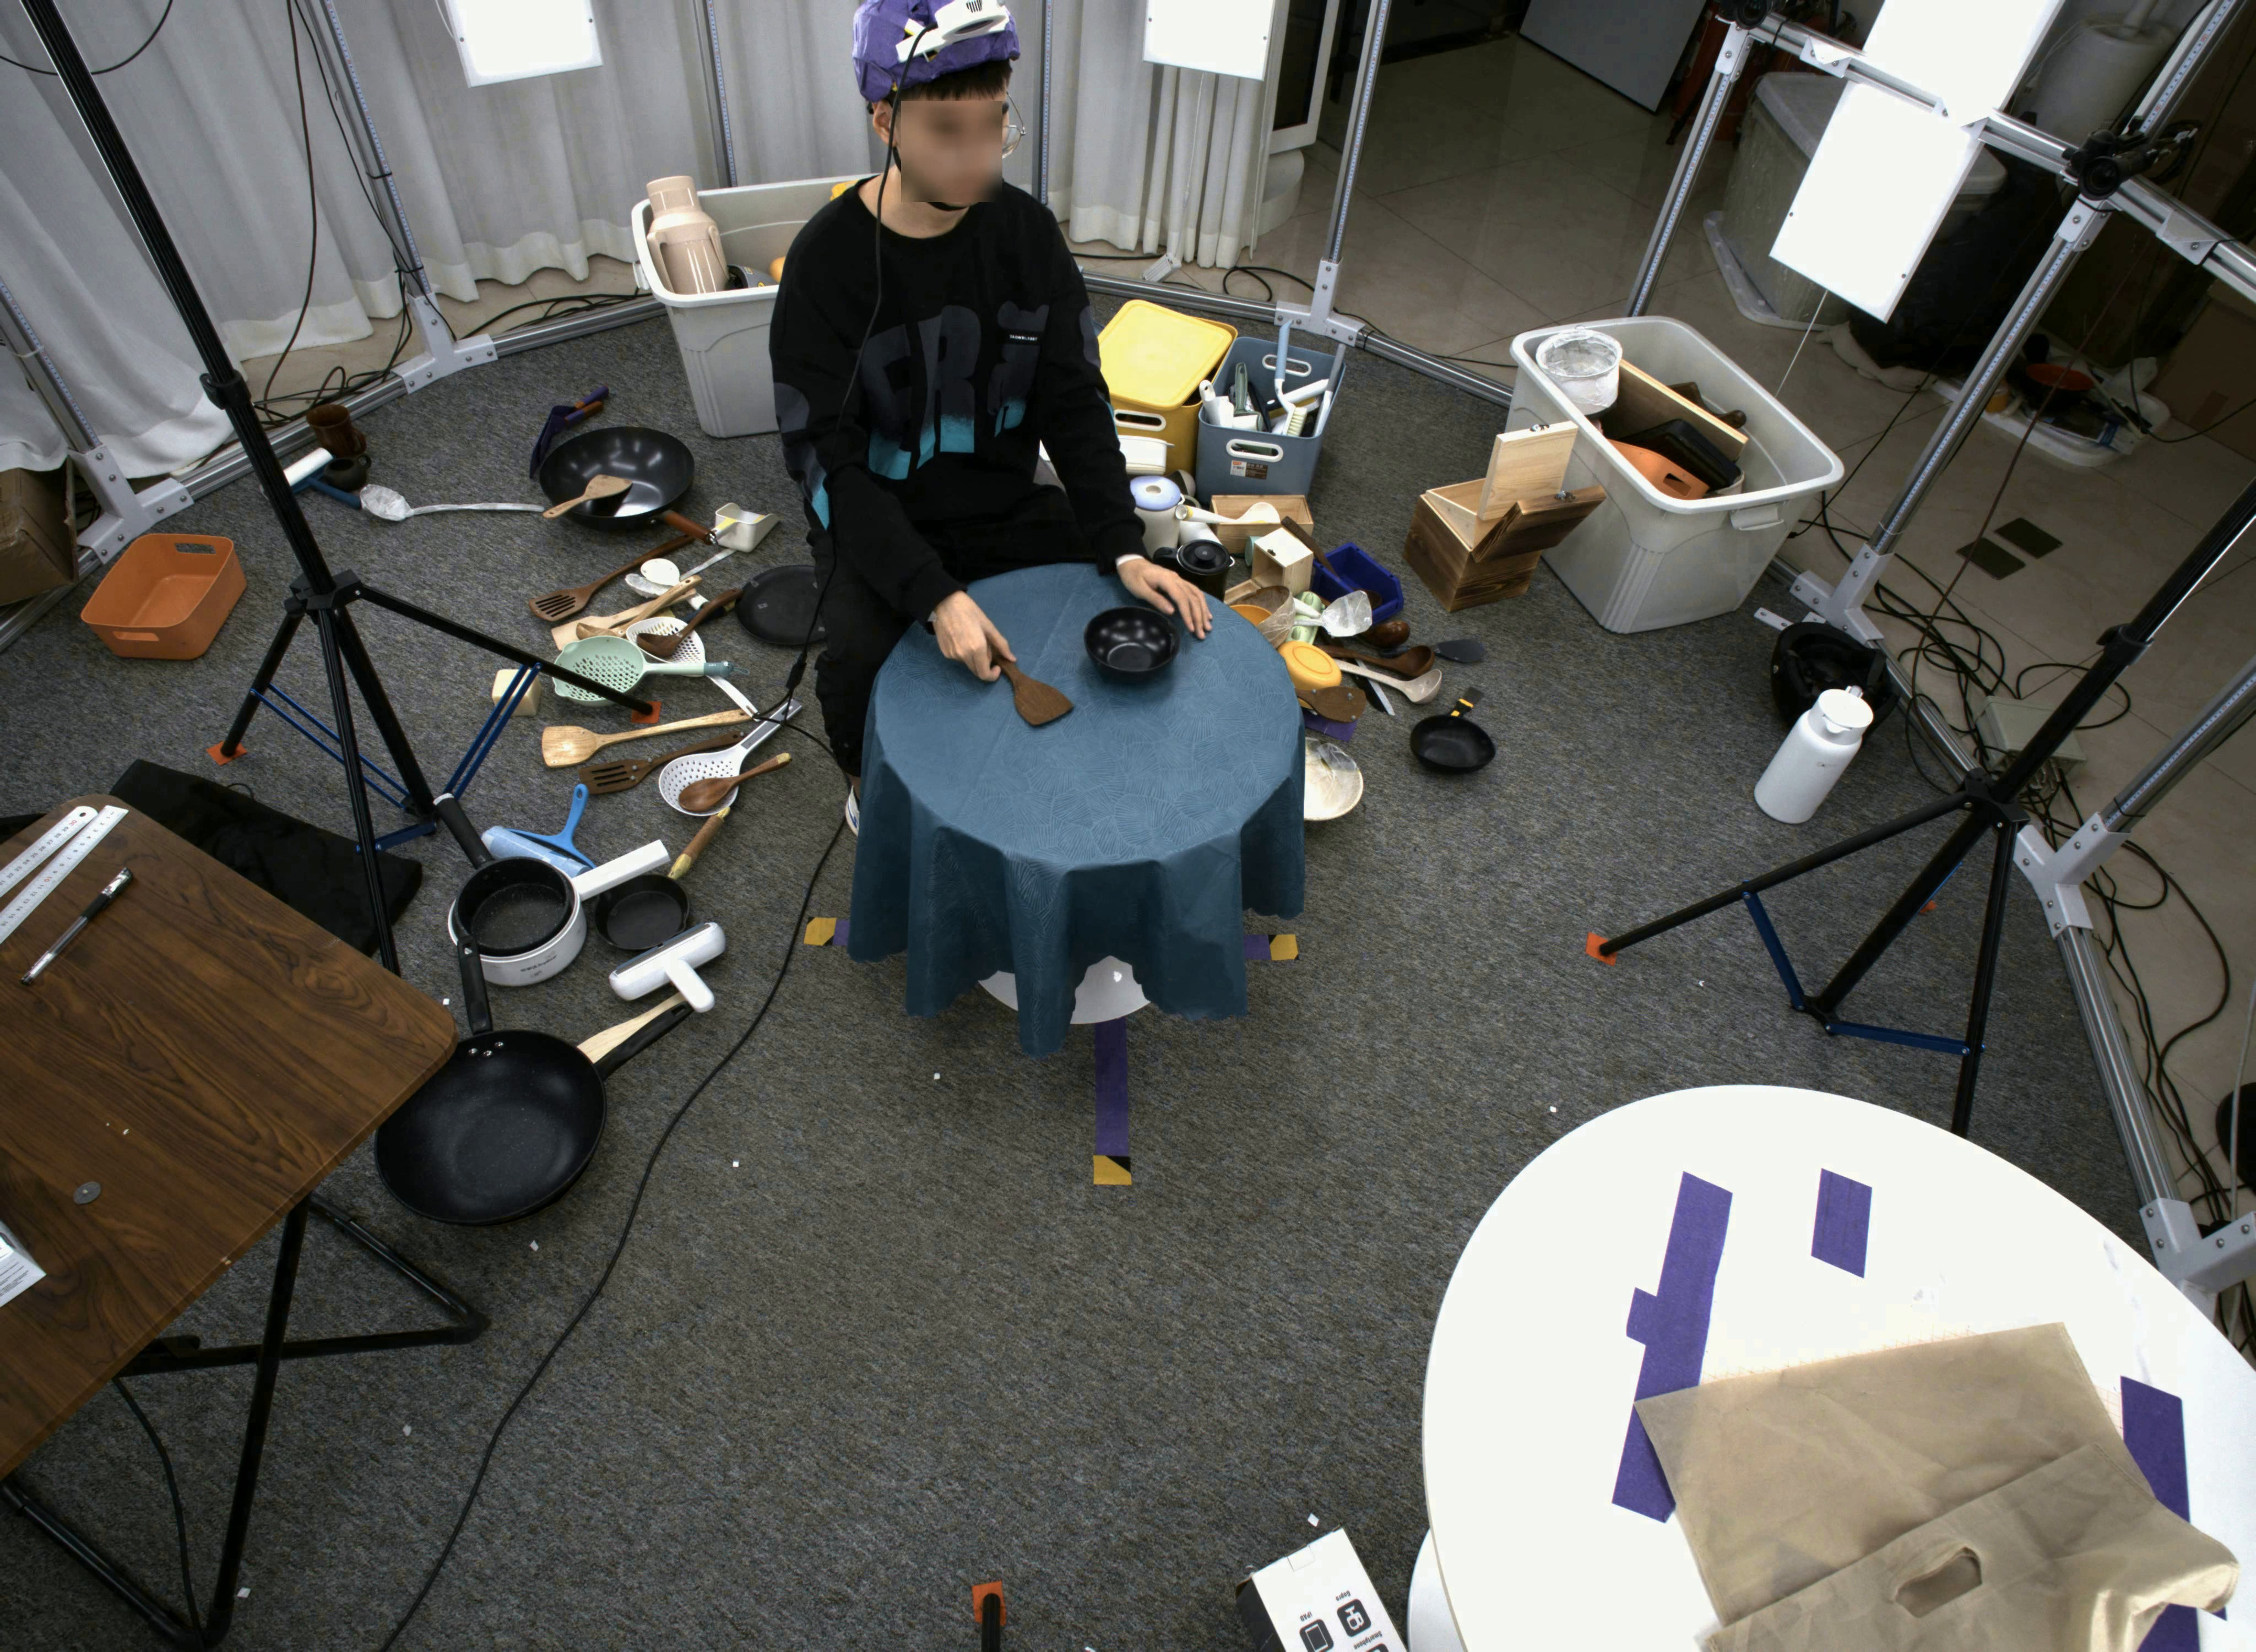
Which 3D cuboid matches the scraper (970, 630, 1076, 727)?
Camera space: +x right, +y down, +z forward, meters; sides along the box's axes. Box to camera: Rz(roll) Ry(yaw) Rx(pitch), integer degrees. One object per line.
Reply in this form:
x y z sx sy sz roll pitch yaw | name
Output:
-0.161 -0.217 1.854 0.076 0.010 0.215 -27 58 -26 | scraper

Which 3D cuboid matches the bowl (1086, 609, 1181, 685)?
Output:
0.008 -0.253 1.875 0.140 0.048 0.143 0 49 0 | bowl
